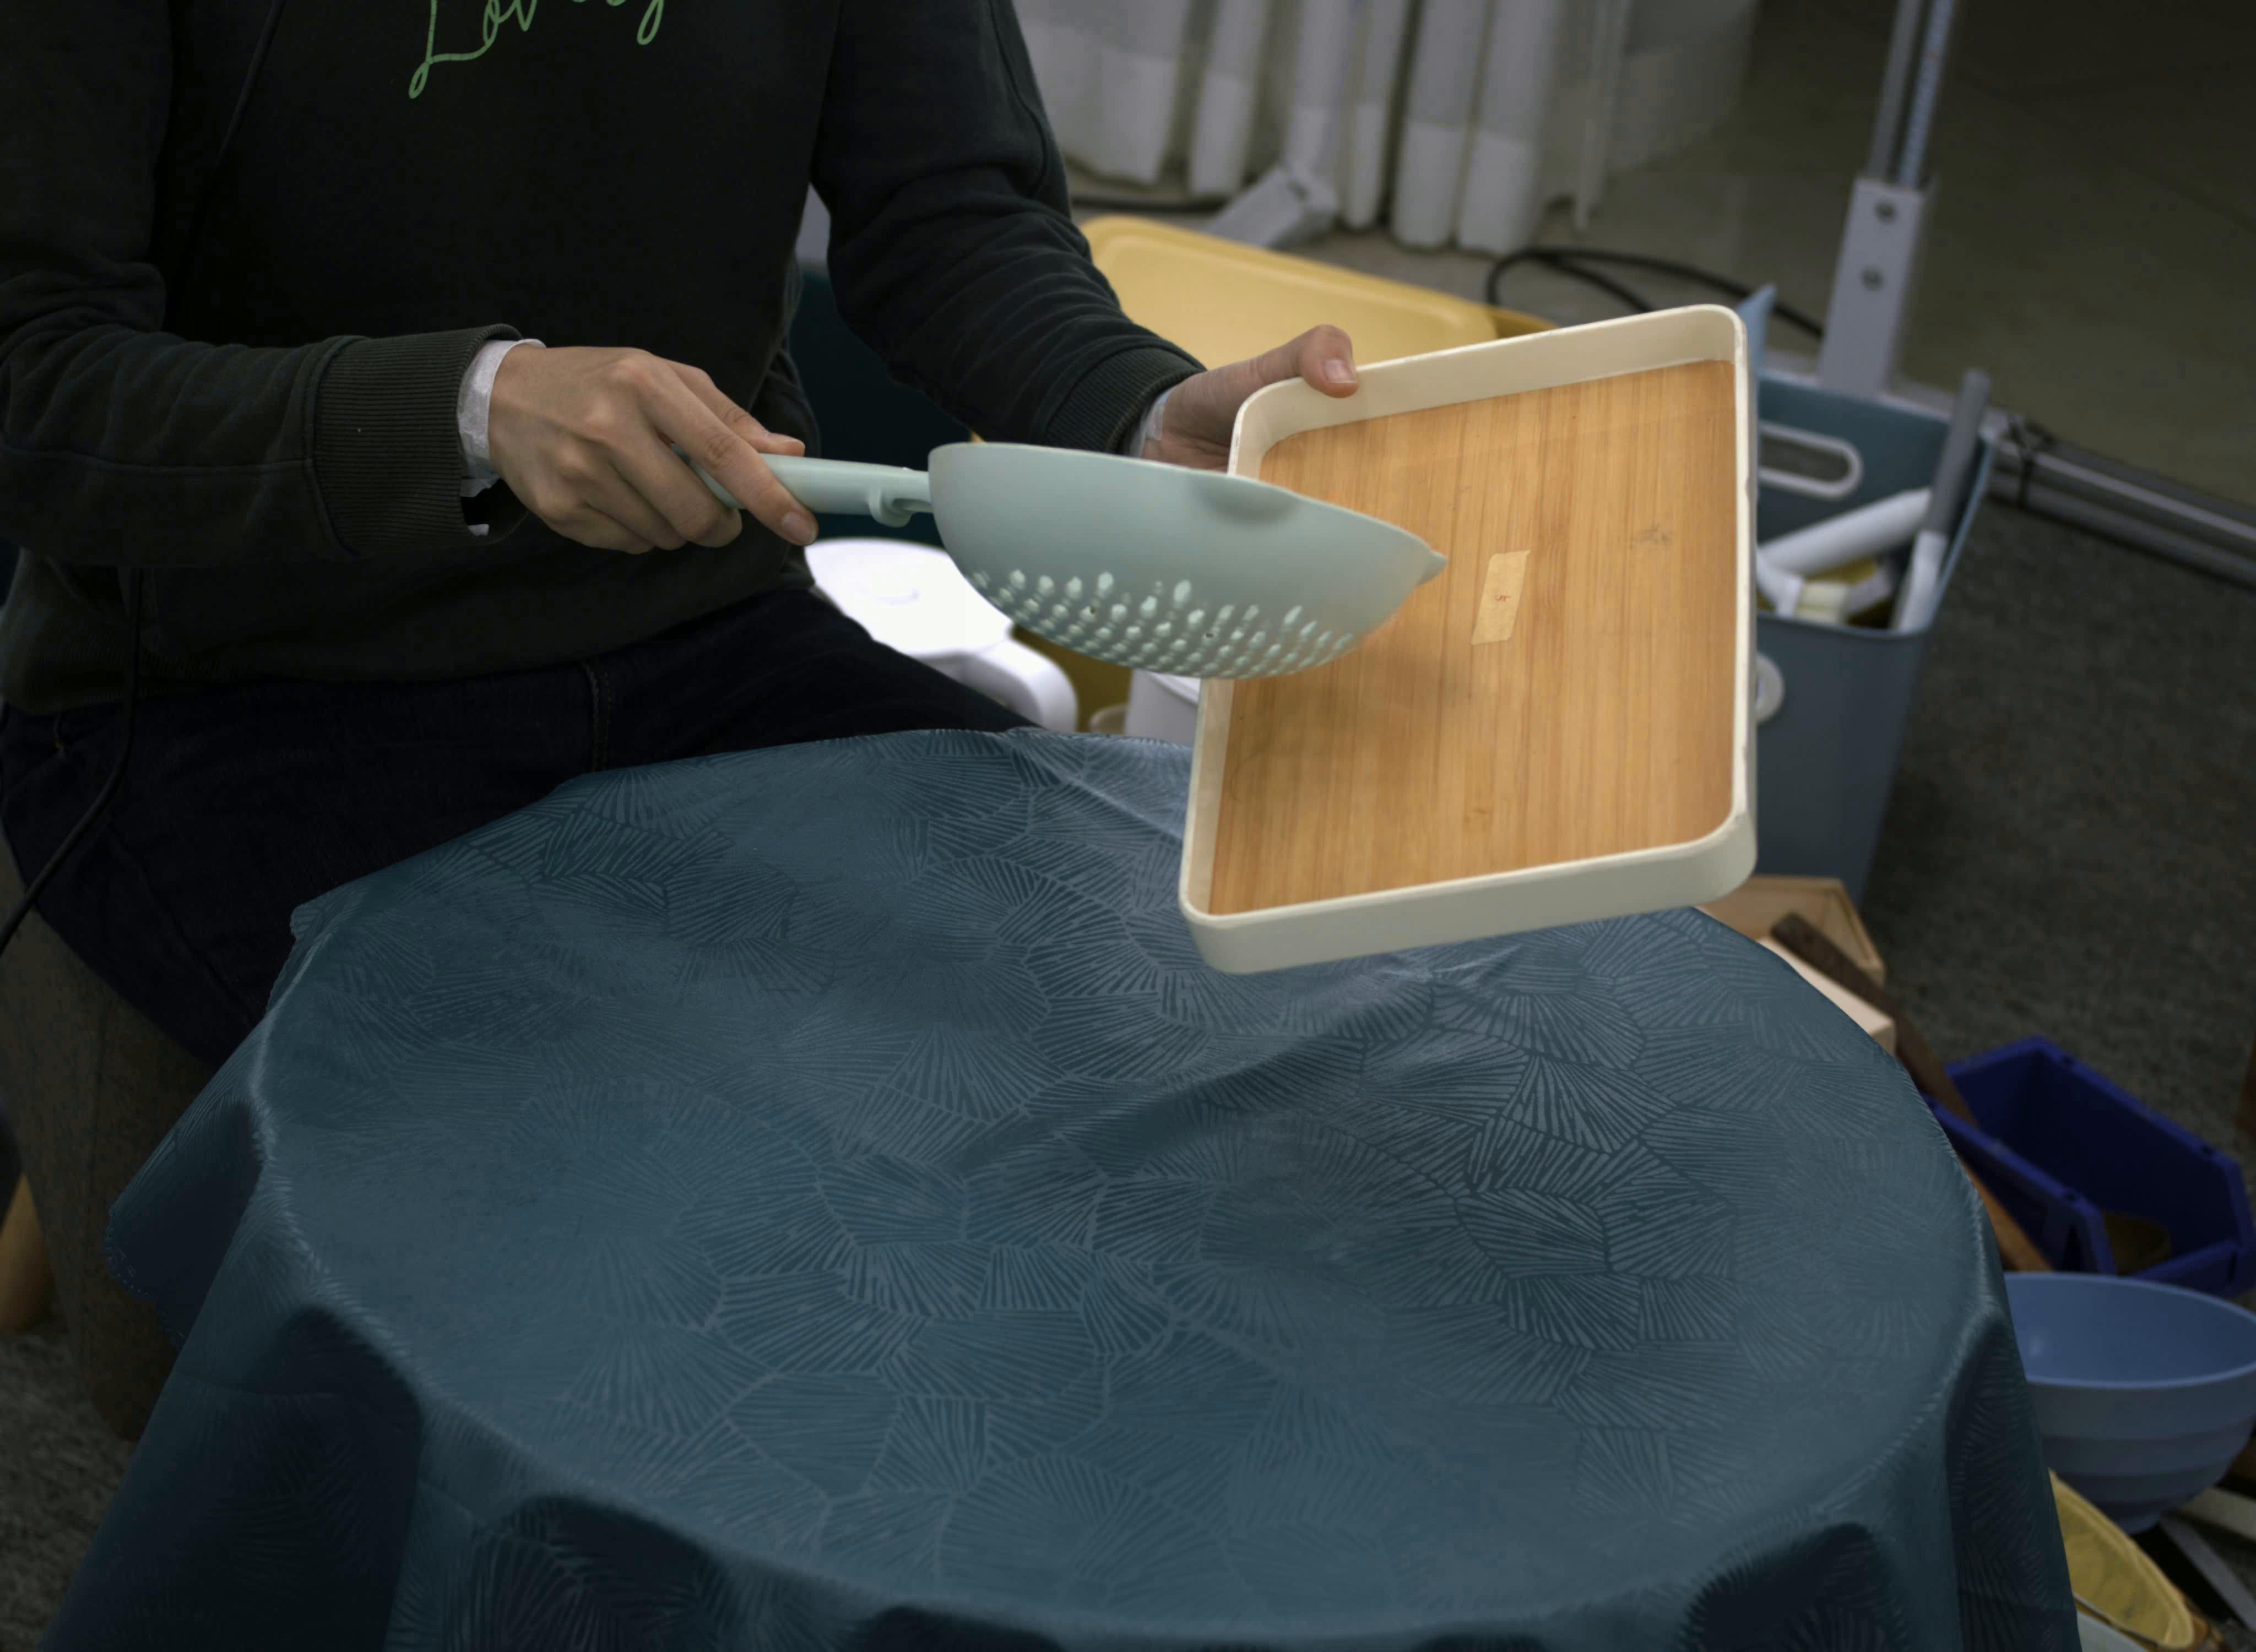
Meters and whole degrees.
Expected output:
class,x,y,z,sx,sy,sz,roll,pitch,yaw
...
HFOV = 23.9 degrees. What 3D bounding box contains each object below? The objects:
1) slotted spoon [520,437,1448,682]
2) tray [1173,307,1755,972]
class,x,y,z,sx,sy,sz,roll,pitch,yaw
slotted spoon,-0.066,-0.107,1.823,0.361,0.075,0.168,18,-1,34
tray,0.120,-0.069,1.823,0.191,0.027,0.302,-9,38,15
